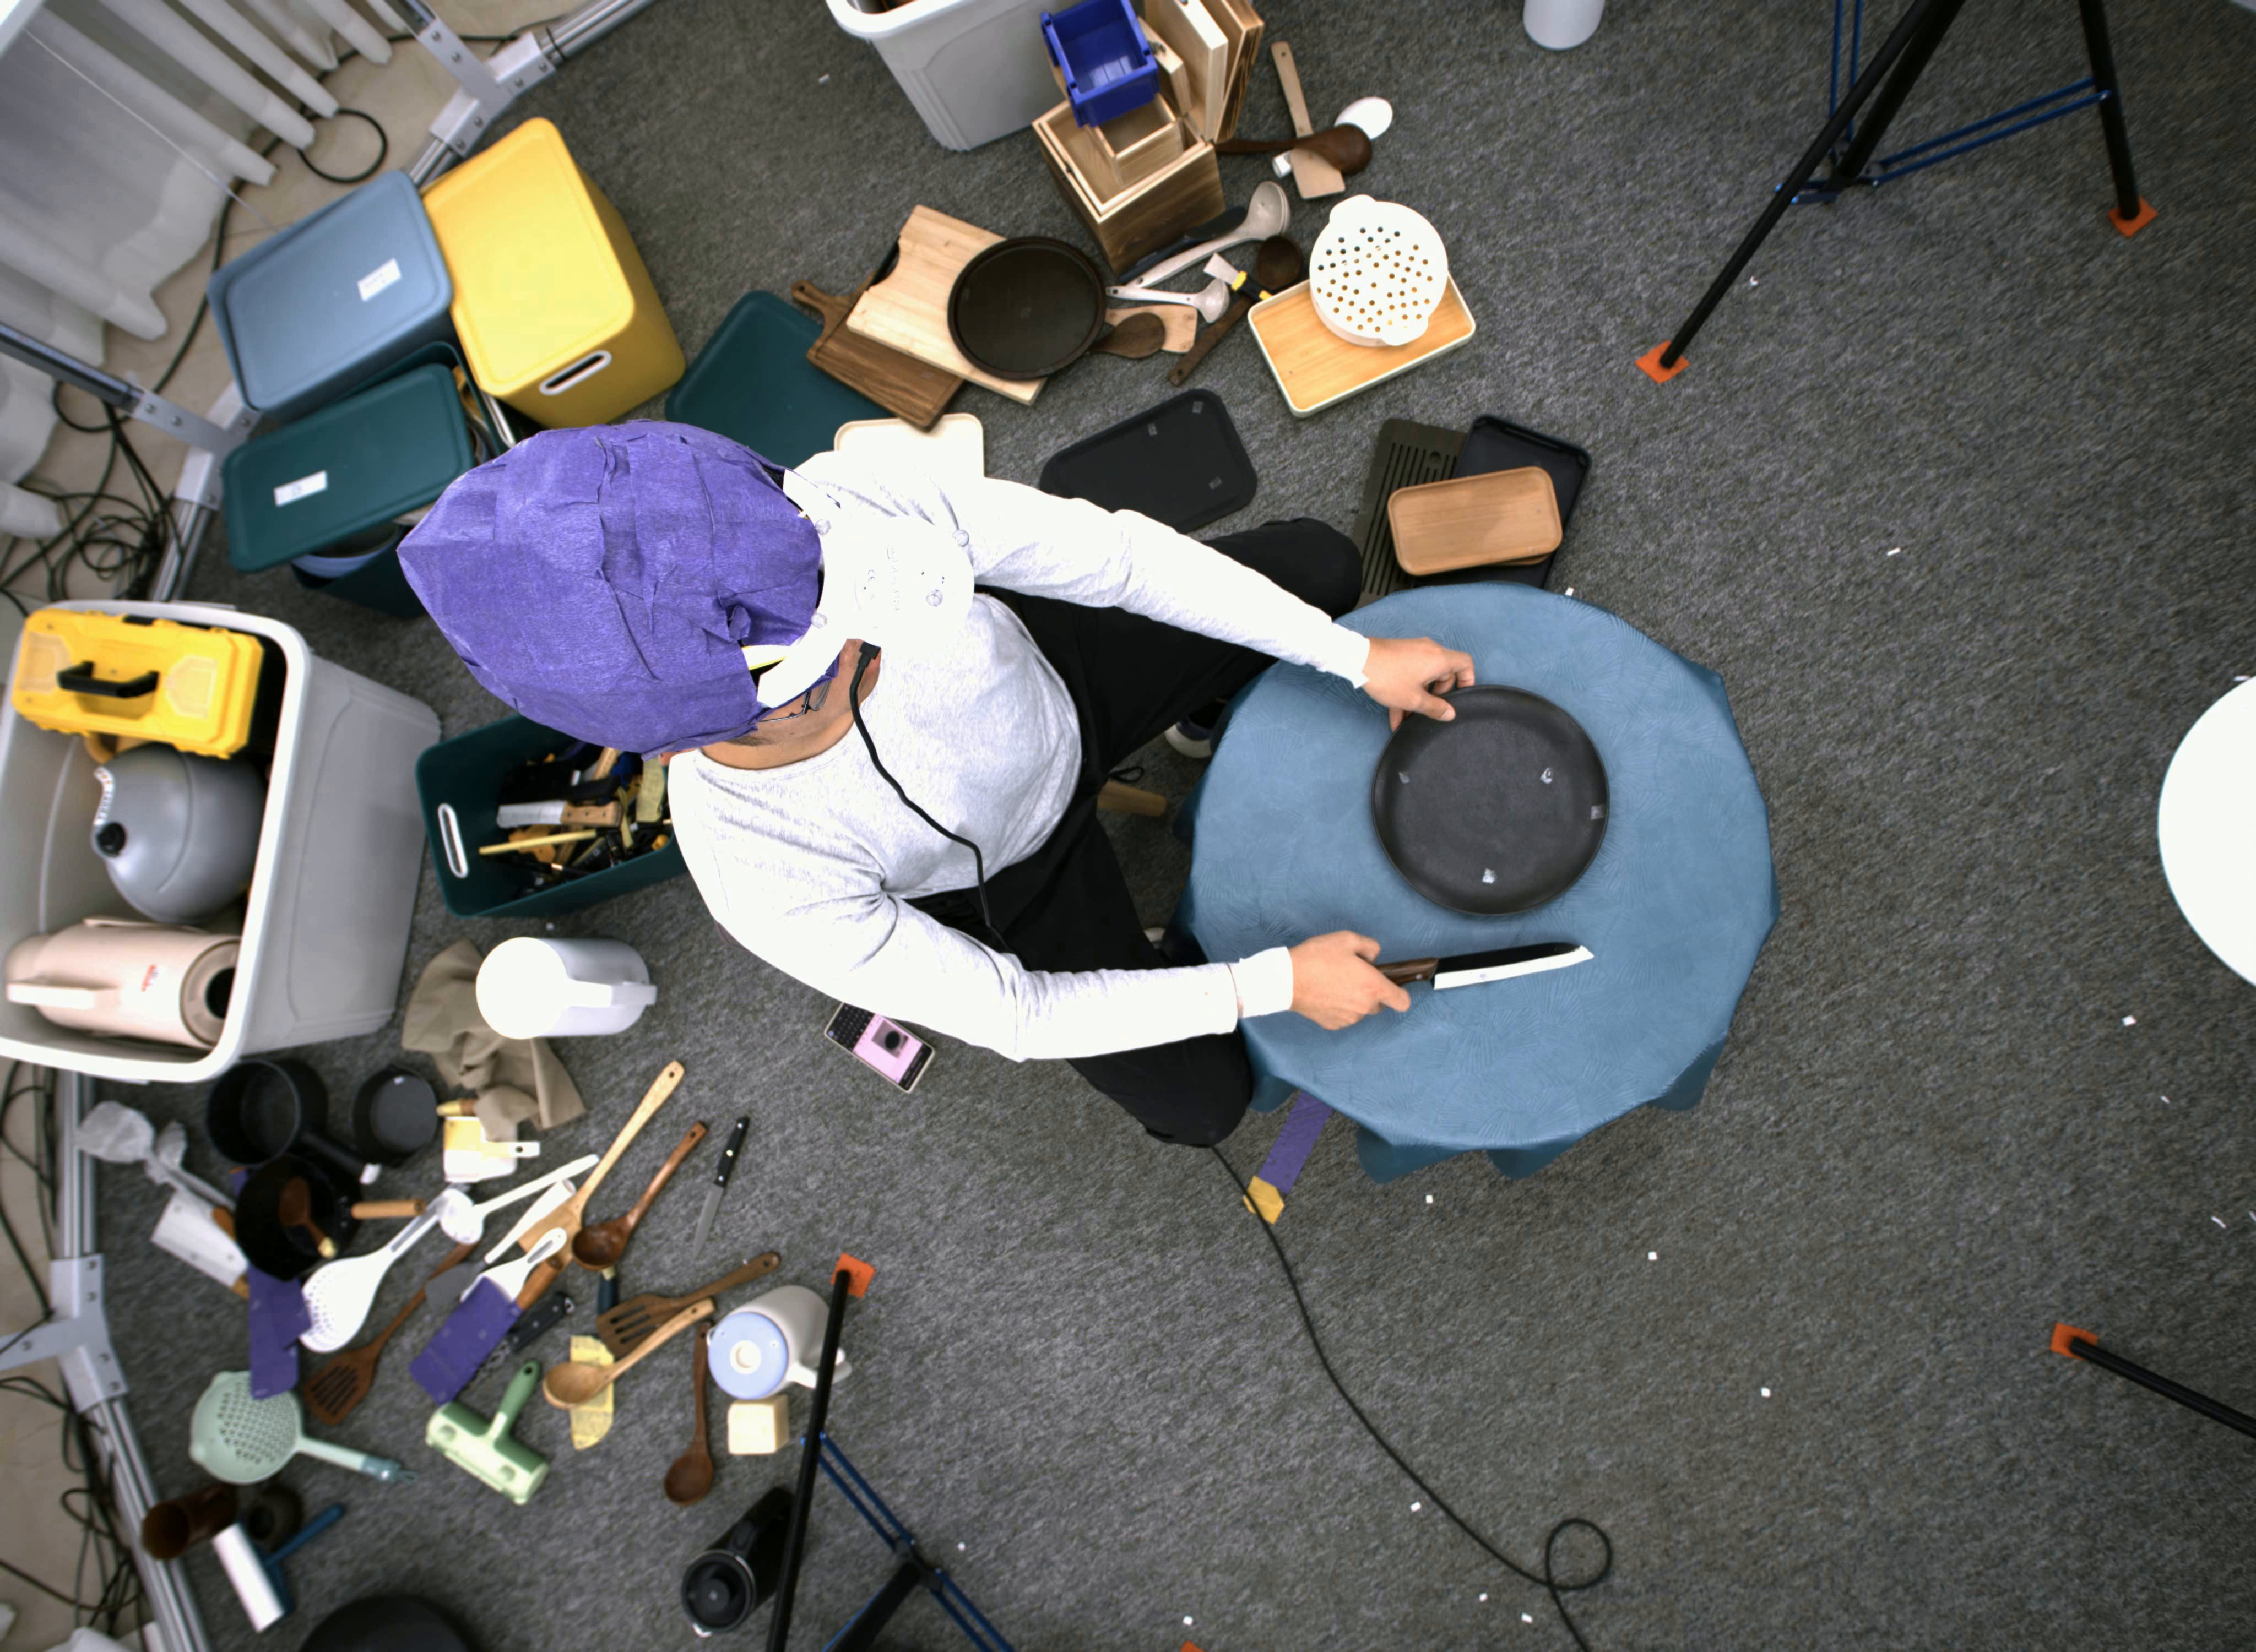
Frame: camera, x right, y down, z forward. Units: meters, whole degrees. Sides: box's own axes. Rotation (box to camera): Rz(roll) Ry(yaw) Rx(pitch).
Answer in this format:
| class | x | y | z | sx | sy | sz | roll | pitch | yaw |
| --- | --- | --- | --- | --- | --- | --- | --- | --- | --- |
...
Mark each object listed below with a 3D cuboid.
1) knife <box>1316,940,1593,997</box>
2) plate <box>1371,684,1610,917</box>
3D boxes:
| class | x | y | z | sx | sy | sz | roll | pitch | yaw |
| --- | --- | --- | --- | --- | --- | --- | --- | --- | --- |
| knife | 0.336 | 0.144 | 1.415 | 0.289 | 0.051 | 0.019 | -7 | 41 | 1 |
| plate | 0.376 | -0.028 | 1.434 | 0.245 | 0.023 | 0.243 | -1 | 87 | 11 |
